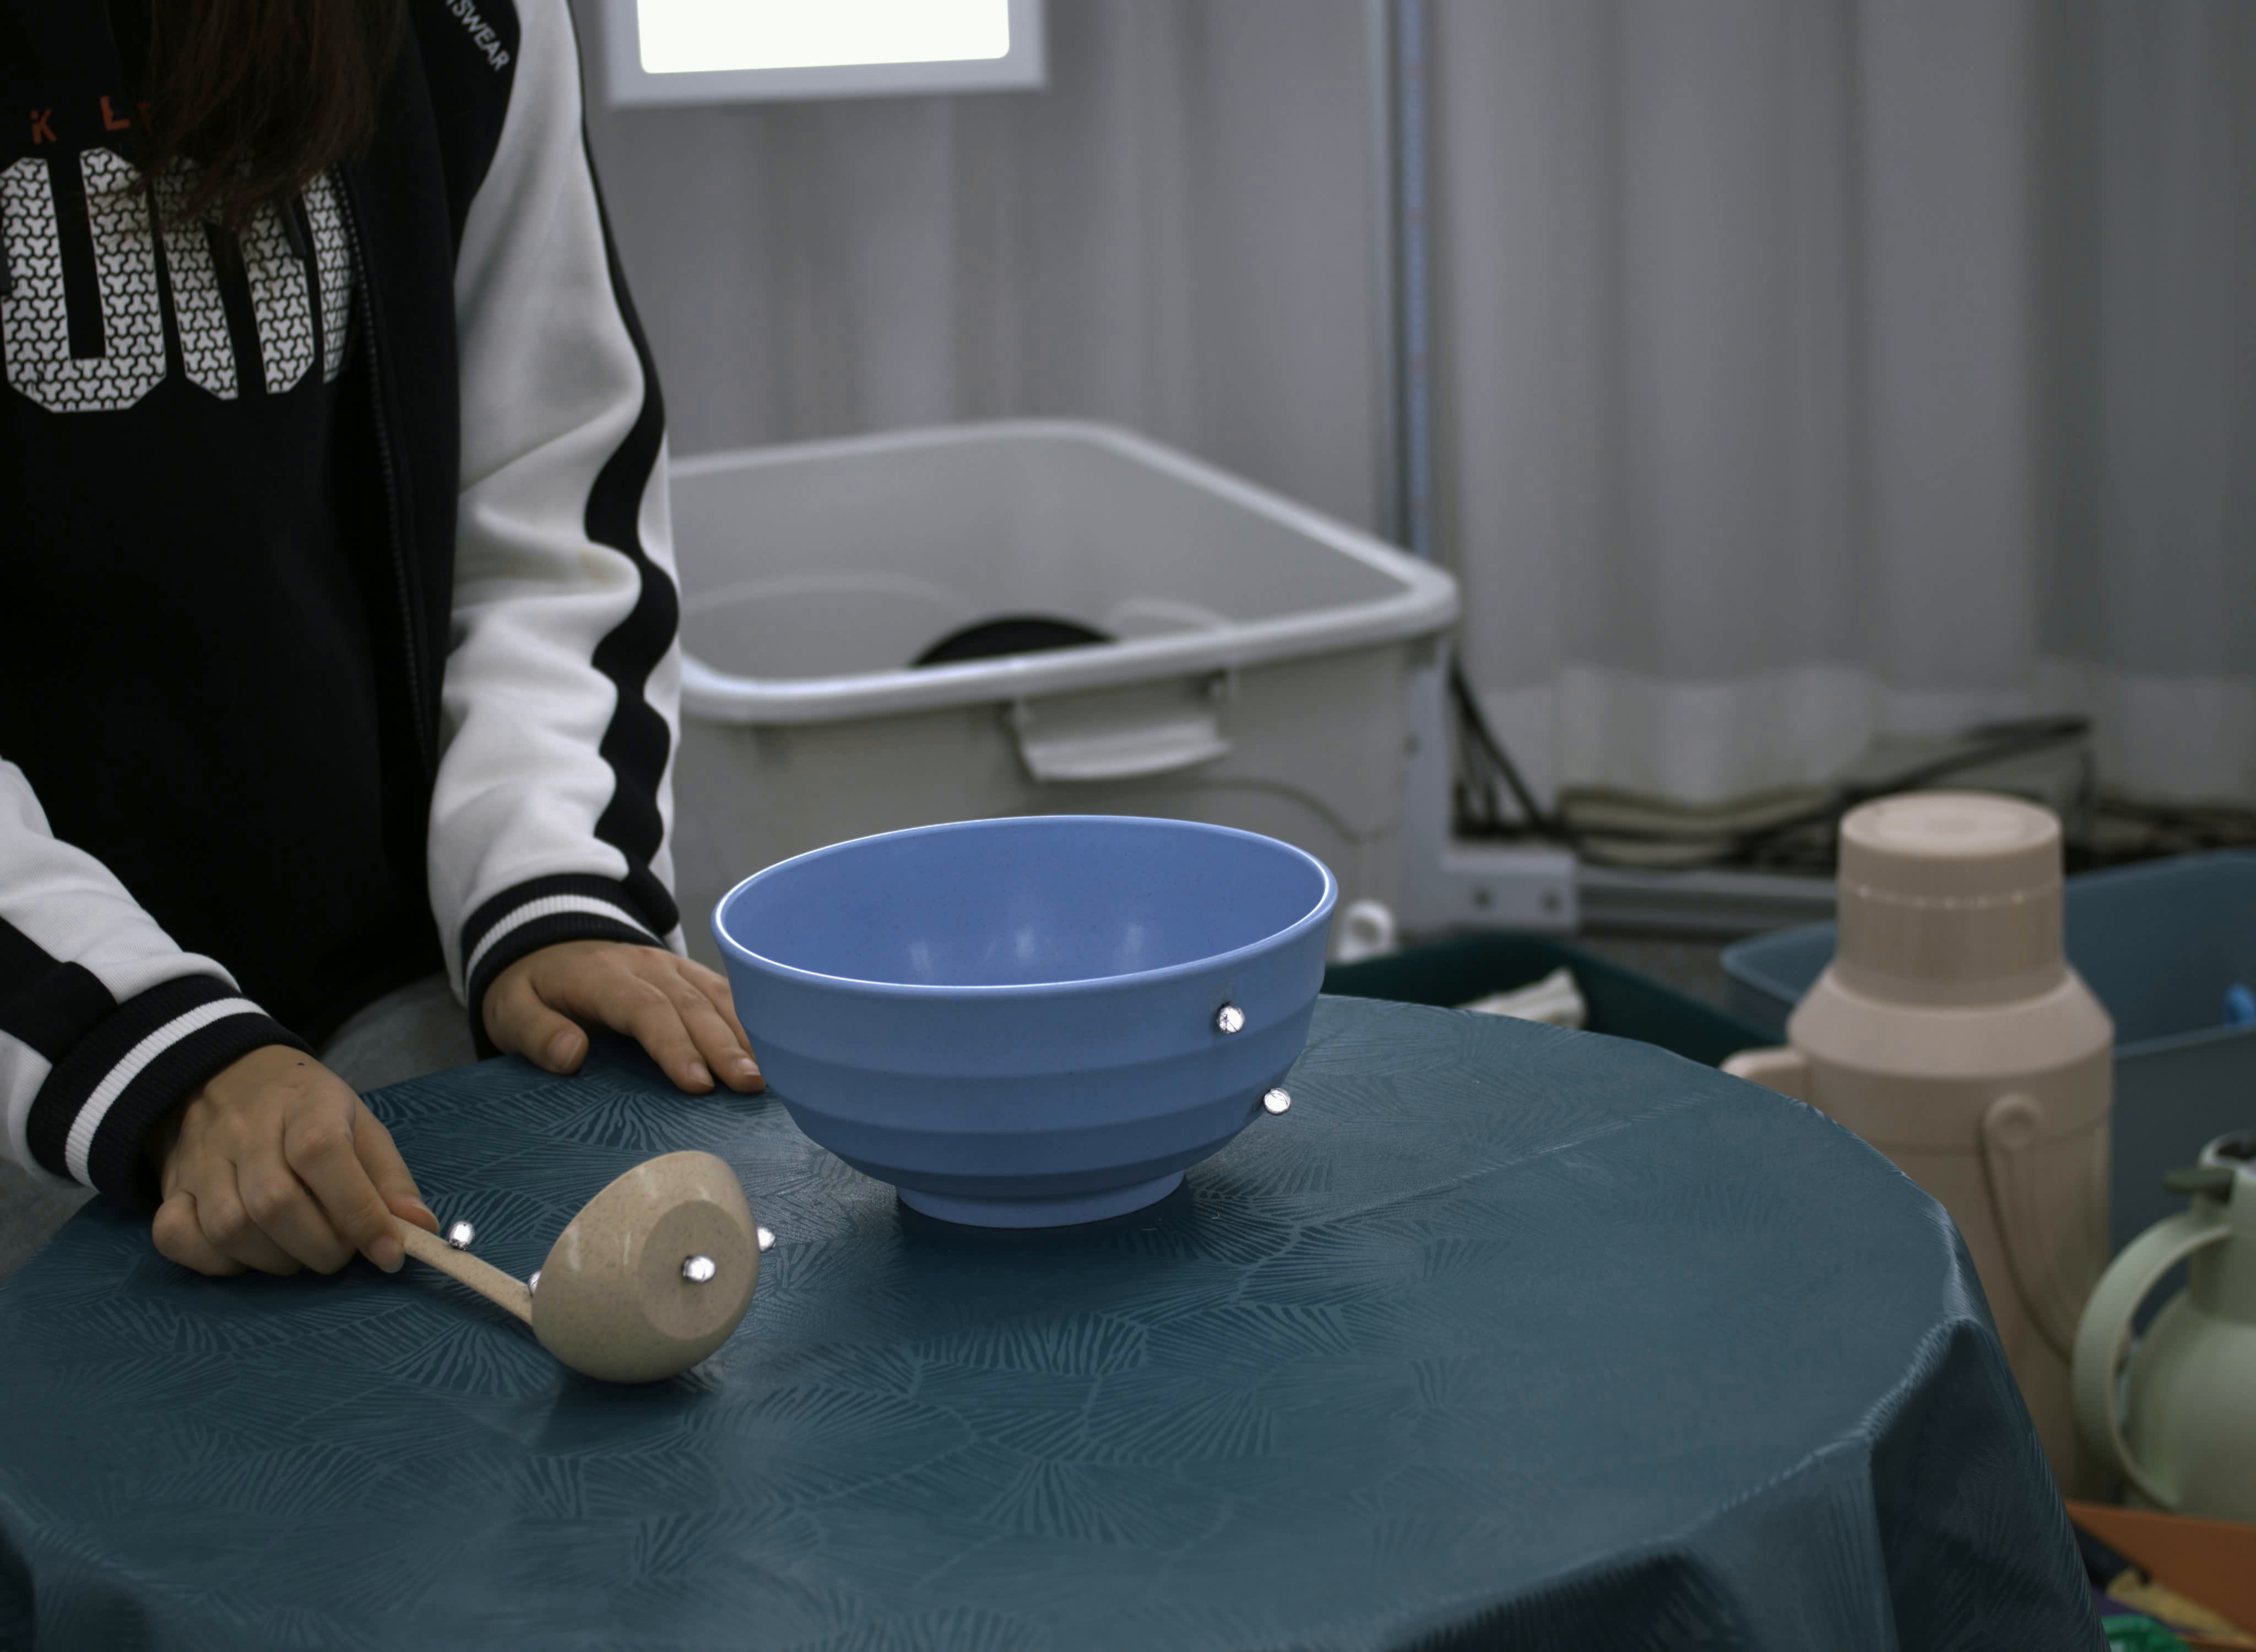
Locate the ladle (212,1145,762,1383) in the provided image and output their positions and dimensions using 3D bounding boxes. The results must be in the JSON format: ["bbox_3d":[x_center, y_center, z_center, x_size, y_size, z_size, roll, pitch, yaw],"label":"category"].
[{"bbox_3d":[-0.204,0.107,1.637,0.072,0.072,0.256,-16,20,-39],"label":"ladle"}]

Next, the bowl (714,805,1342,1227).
[{"bbox_3d":[-0.031,0.066,1.717,0.196,0.095,0.198,-1,16,0],"label":"bowl"}]
